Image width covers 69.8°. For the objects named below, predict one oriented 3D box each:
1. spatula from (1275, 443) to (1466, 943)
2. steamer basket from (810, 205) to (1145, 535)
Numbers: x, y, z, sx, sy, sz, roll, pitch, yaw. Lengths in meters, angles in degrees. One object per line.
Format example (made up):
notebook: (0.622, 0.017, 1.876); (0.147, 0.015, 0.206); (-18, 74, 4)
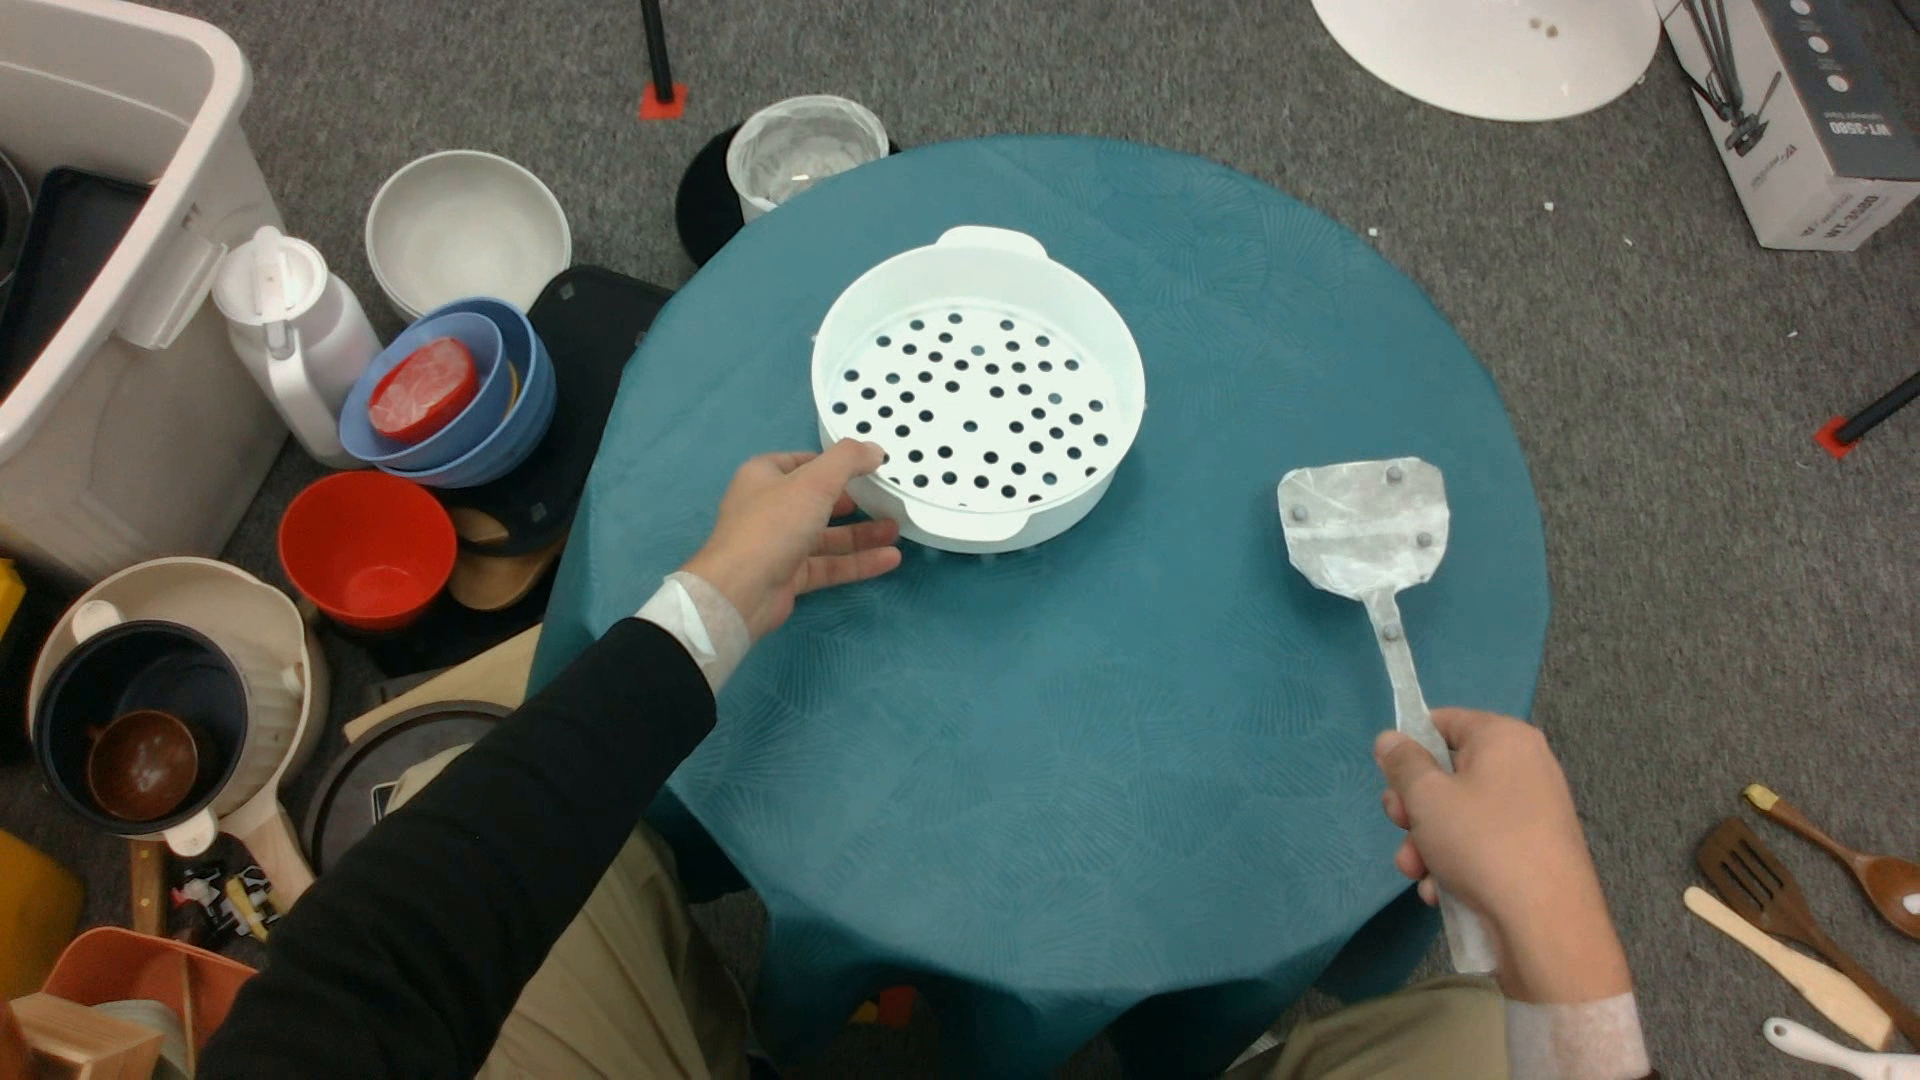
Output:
spatula: (0.225, 0.054, 0.716); (0.098, 0.044, 0.366); (-3, 31, 10)
steamer basket: (0.009, -0.099, 0.849); (0.202, 0.069, 0.231); (7, 62, -2)
